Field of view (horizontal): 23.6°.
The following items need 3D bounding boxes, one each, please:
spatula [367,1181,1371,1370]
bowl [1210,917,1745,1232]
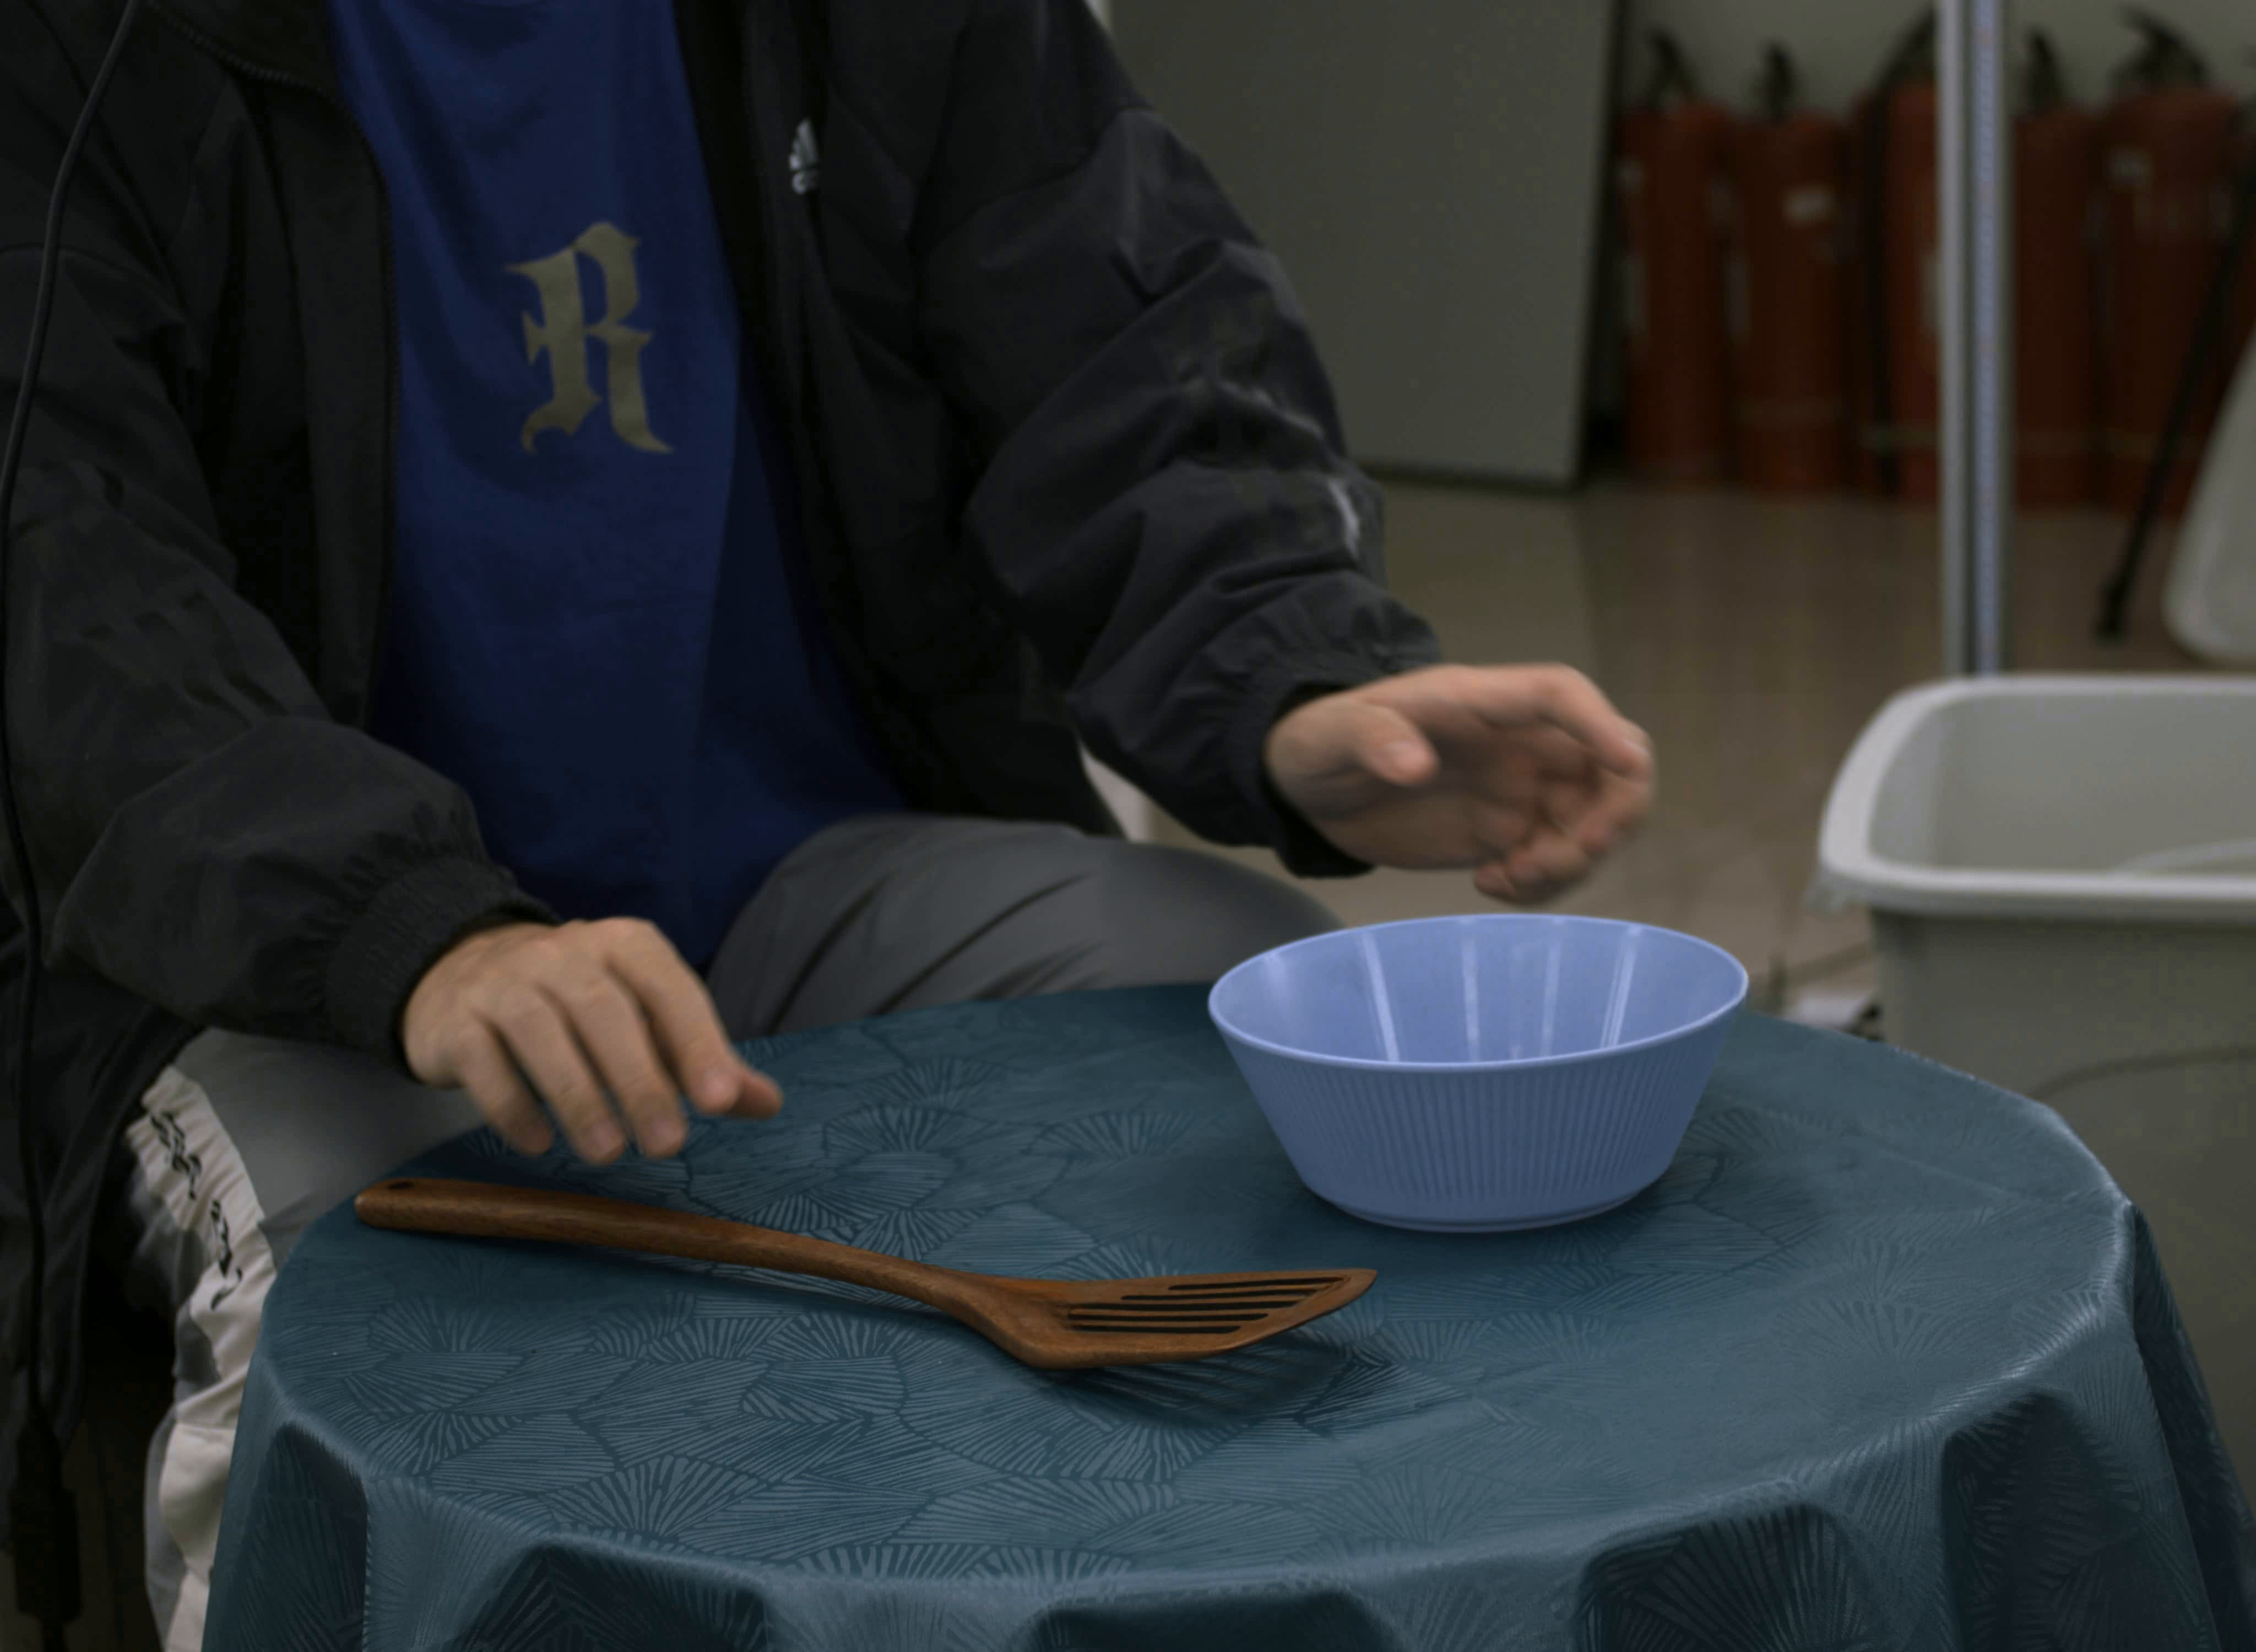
[{"bbox_3d":[-0.096,0.138,1.686,0.389,0.024,0.084,5,15,37],"label":"spatula"},{"bbox_3d":[0.115,0.083,1.746,0.174,0.071,0.176,-4,12,0],"label":"bowl"}]
